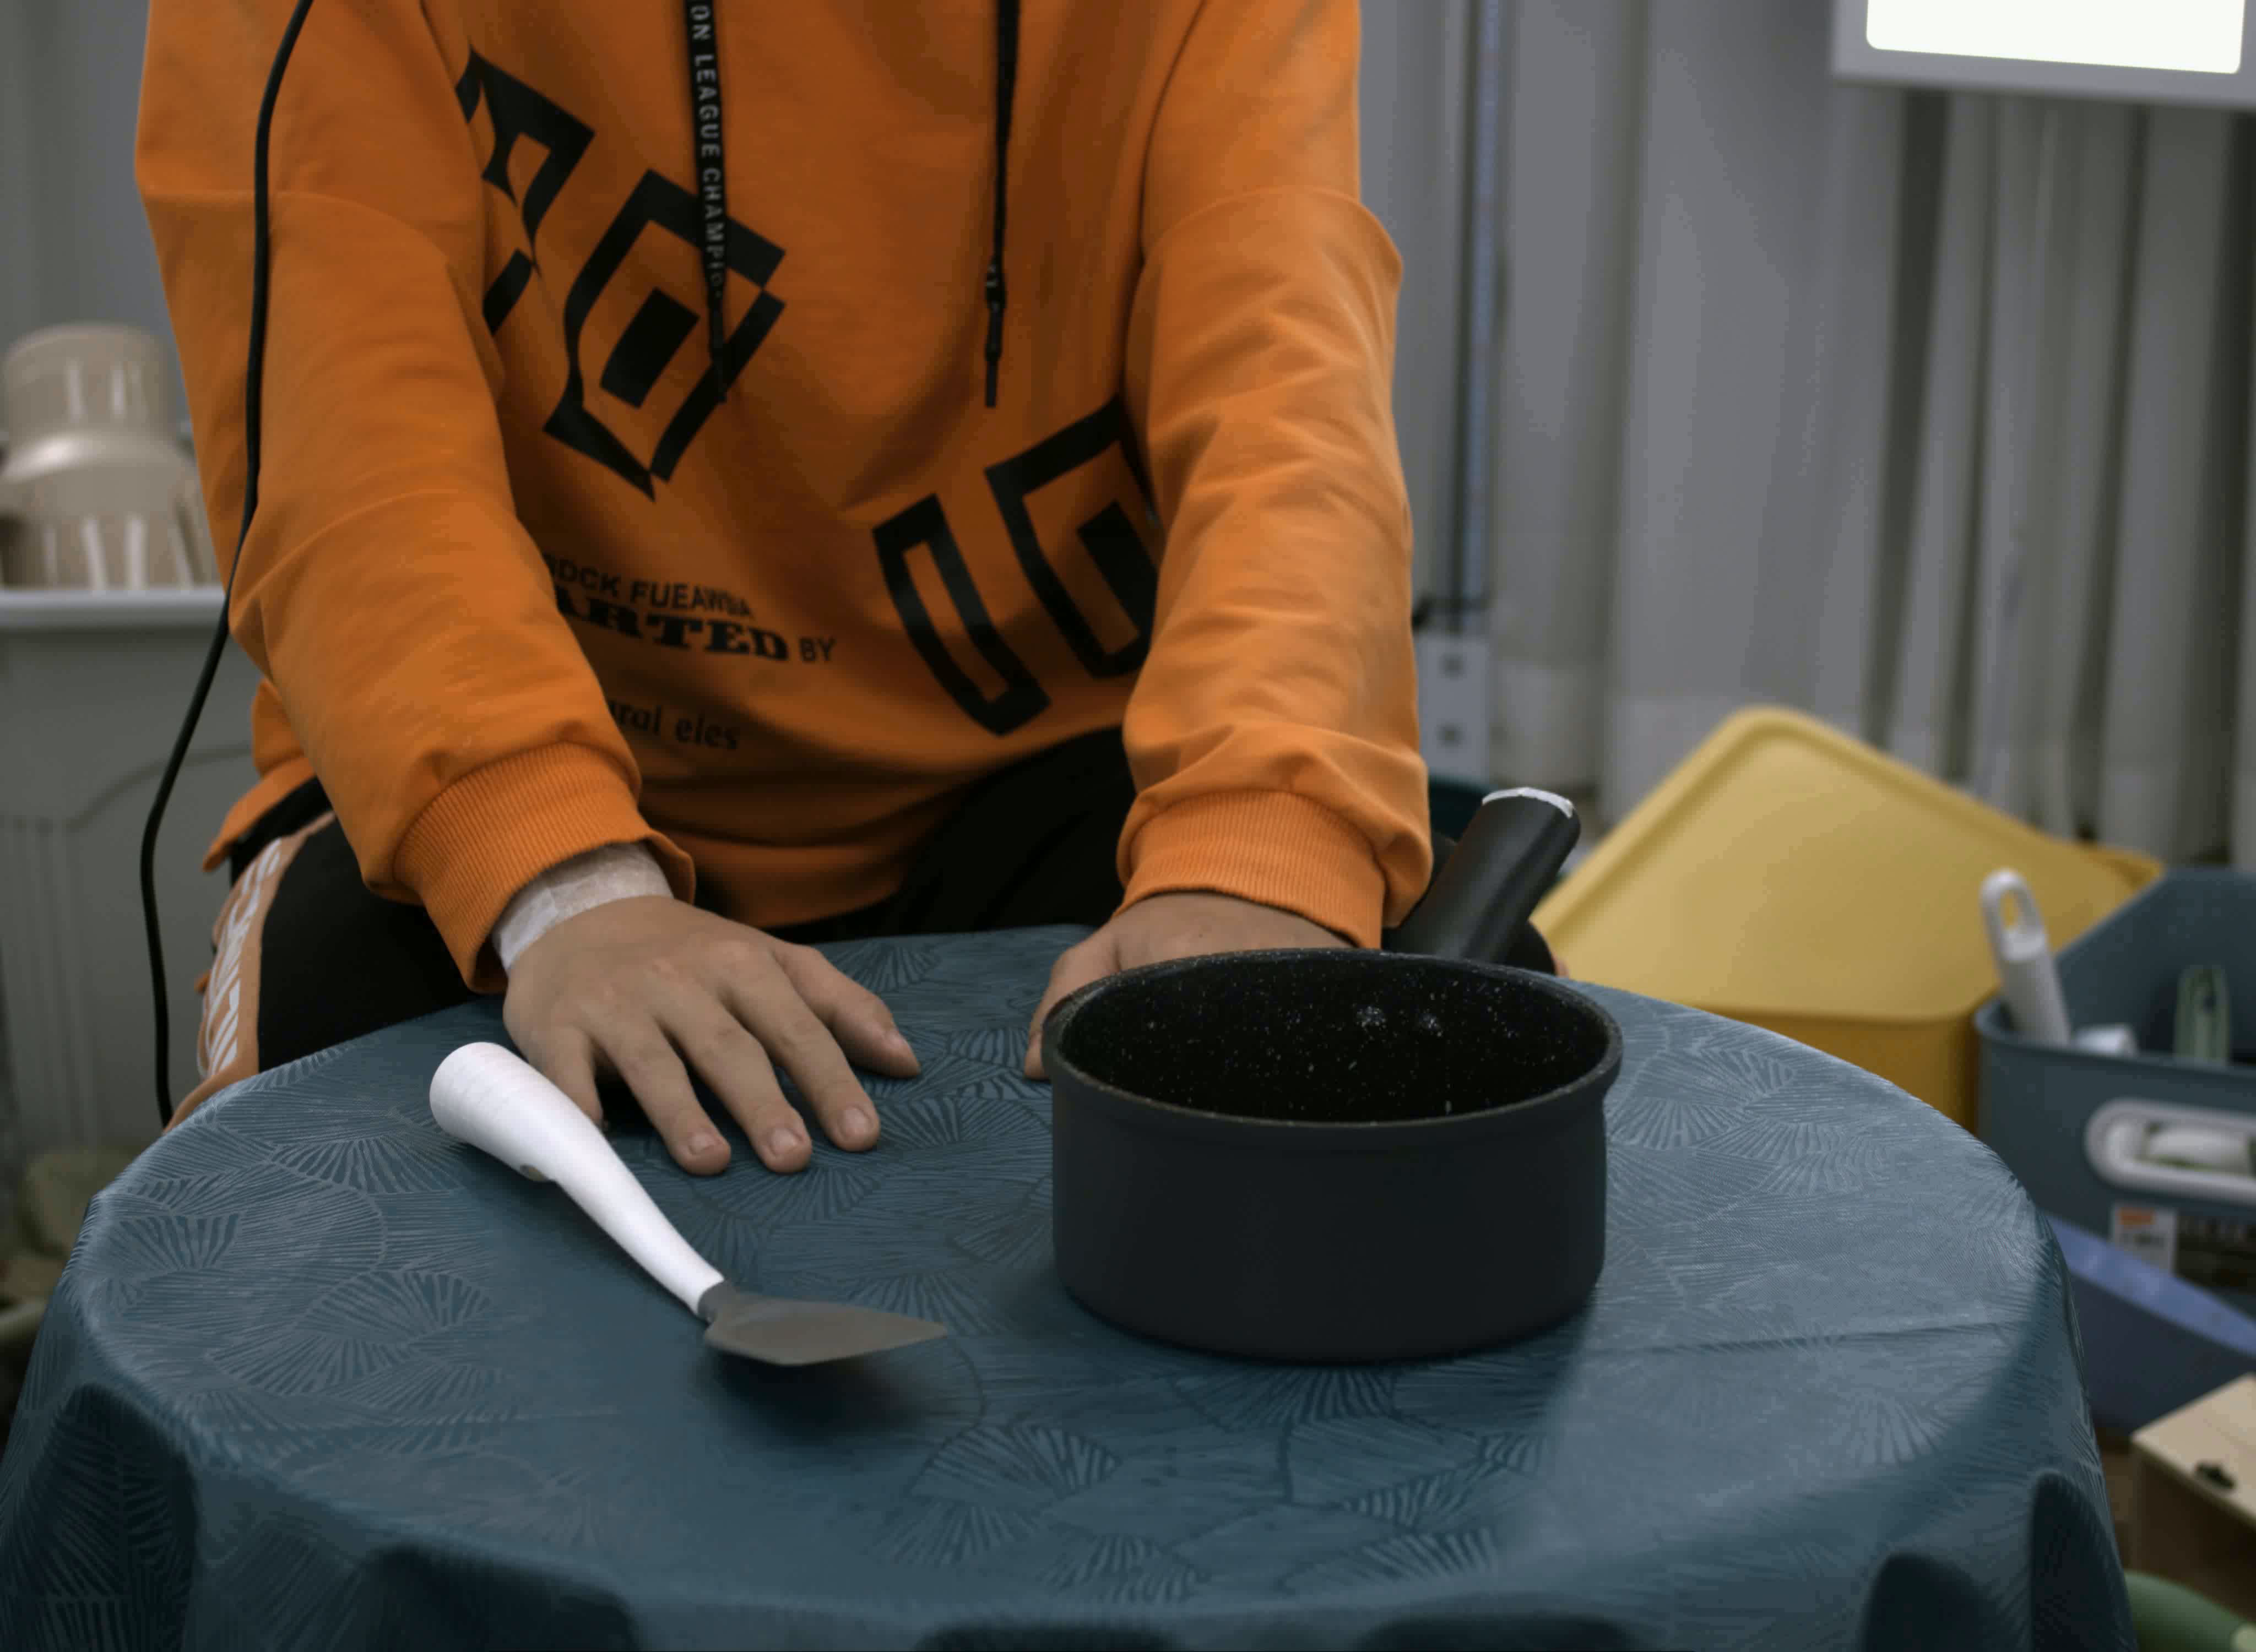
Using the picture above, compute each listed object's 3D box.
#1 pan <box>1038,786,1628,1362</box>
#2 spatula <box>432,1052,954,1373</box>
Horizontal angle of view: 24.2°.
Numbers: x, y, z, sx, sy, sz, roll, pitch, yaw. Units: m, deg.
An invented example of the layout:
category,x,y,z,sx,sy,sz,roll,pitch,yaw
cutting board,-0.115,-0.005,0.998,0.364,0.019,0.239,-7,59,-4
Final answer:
category,x,y,z,sx,sy,sz,roll,pitch,yaw
pan,0.087,0.071,1.614,0.170,0.087,0.329,7,18,19
spatula,-0.136,0.118,1.539,0.059,0.032,0.284,-4,15,-29
